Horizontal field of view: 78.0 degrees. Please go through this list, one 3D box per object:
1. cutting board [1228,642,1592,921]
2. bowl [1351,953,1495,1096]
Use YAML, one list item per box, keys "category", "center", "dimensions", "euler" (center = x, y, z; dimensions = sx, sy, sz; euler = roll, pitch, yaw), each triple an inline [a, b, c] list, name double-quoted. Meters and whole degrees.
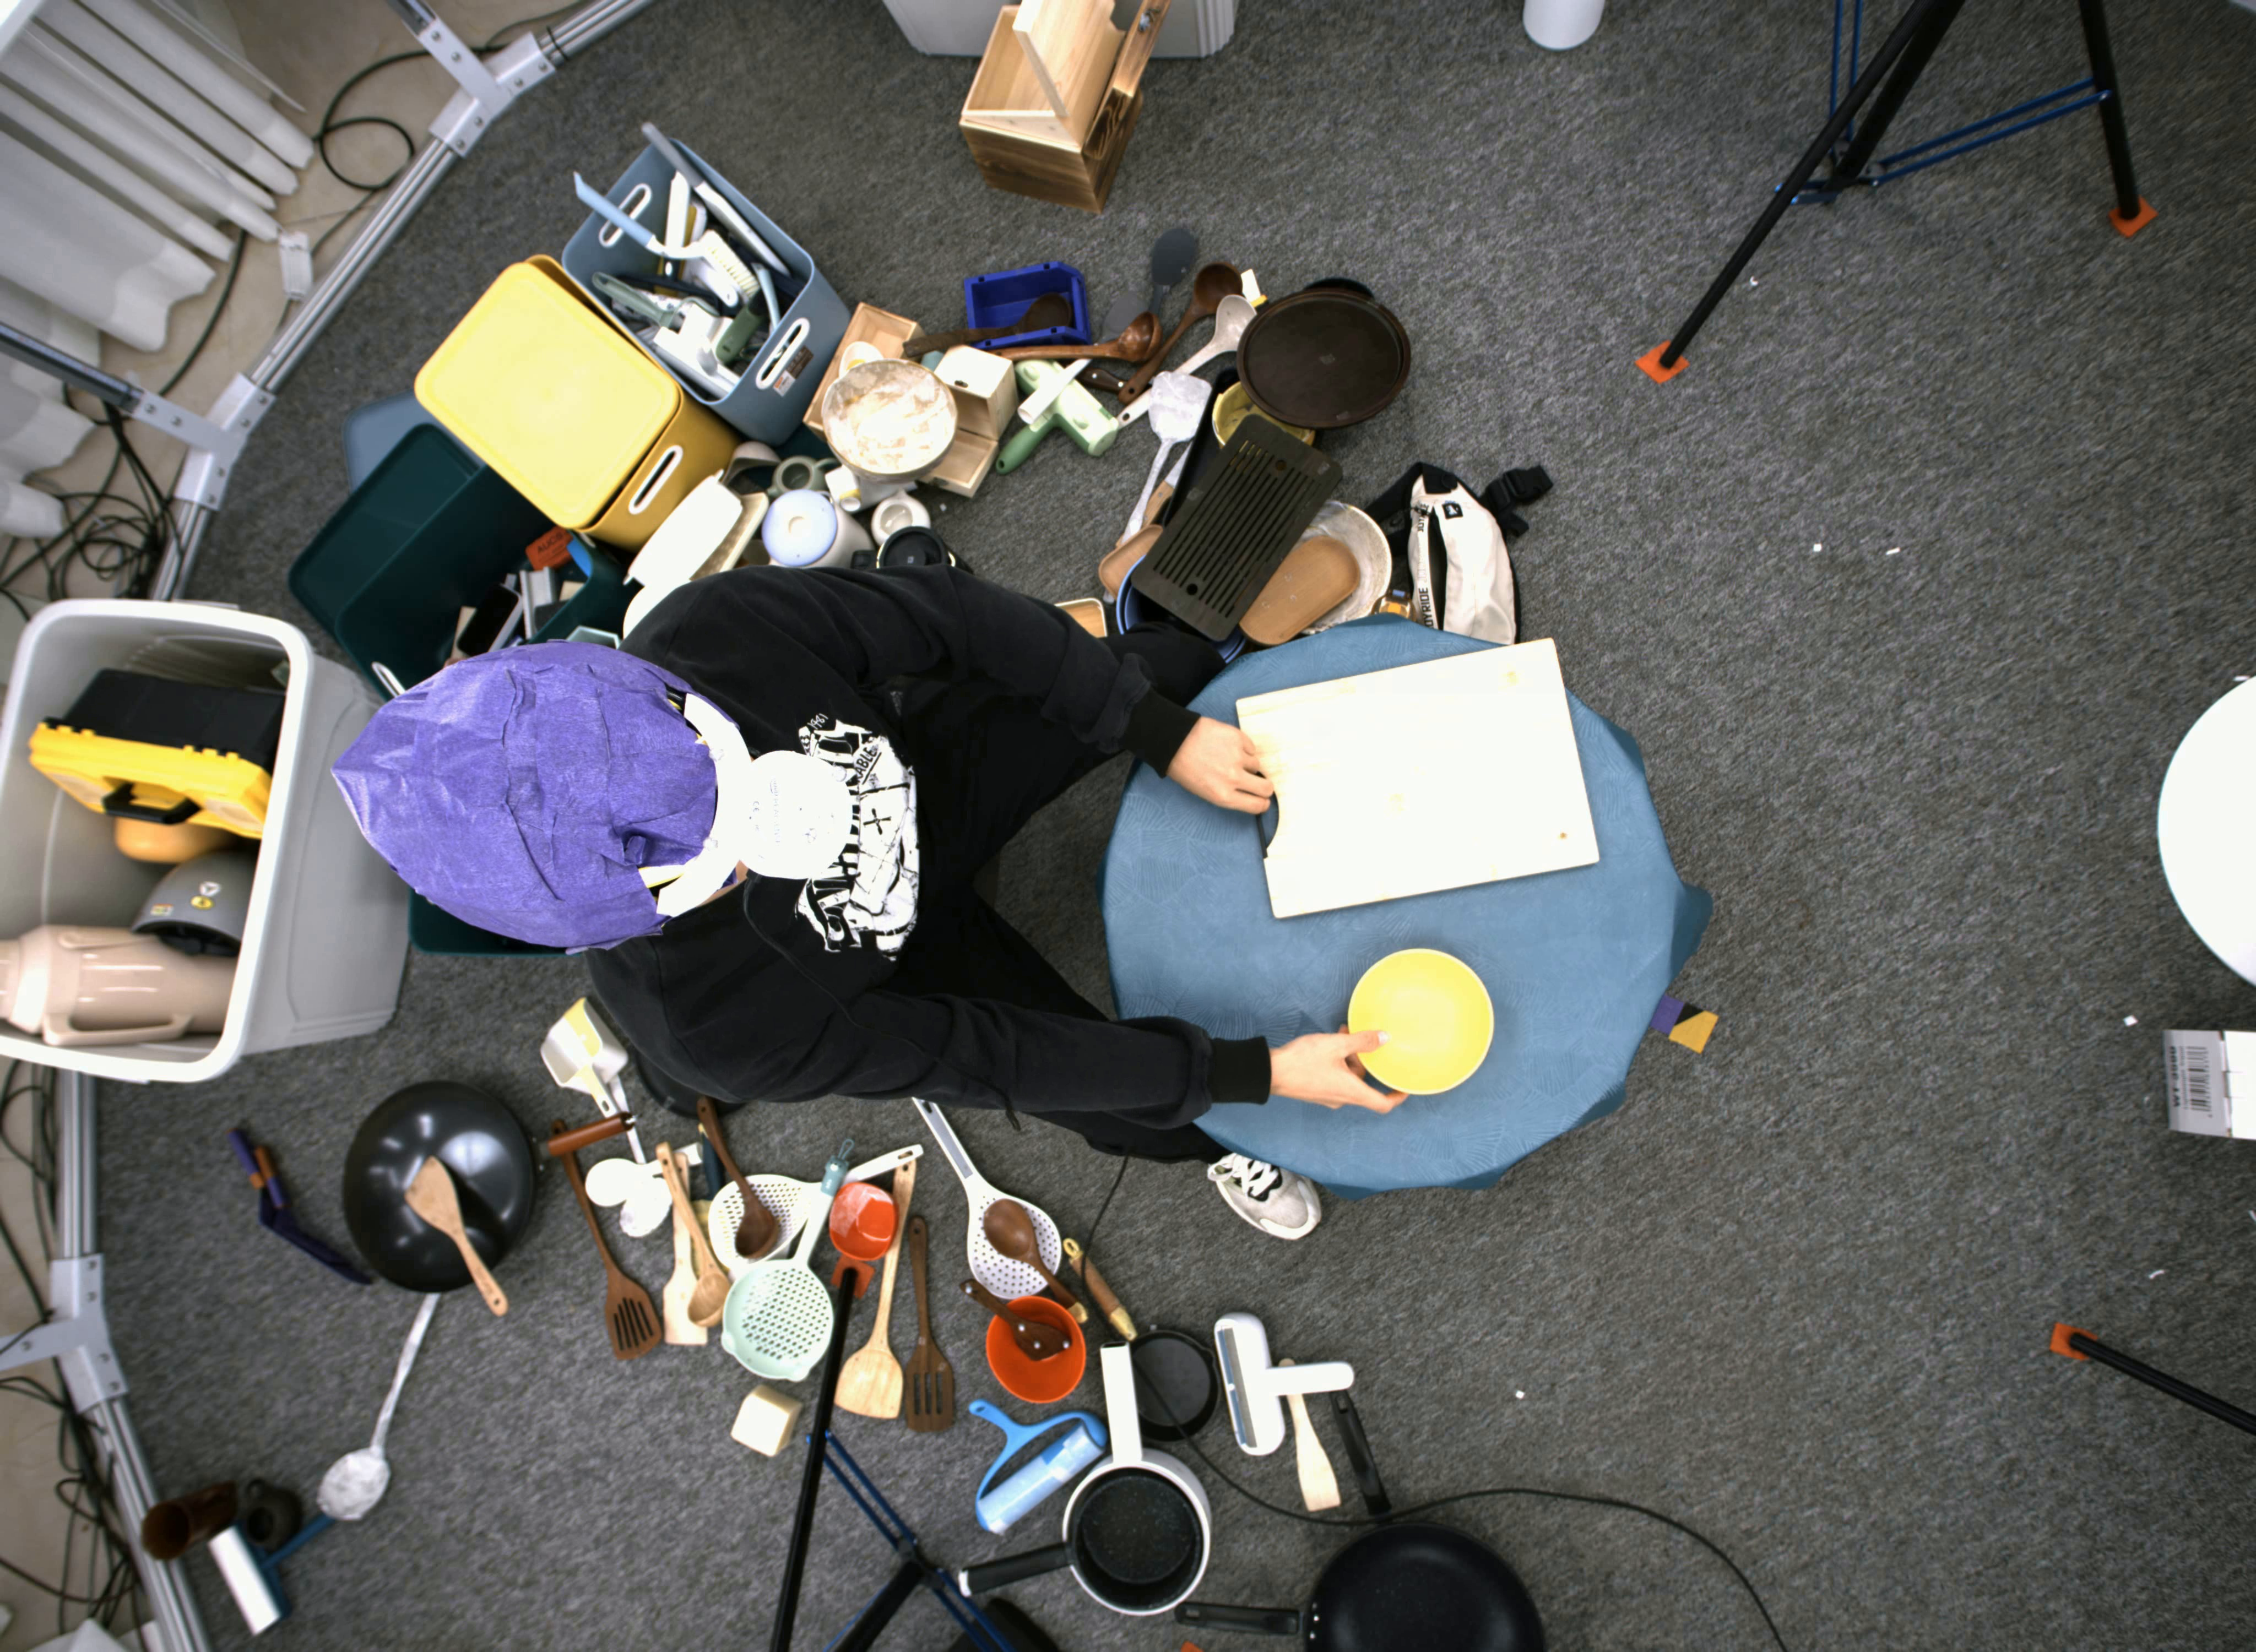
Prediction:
- category: "cutting board"
  center: [0.298, -0.047, 1.460]
  dimensions: [0.350, 0.023, 0.249]
  euler: [-12, 84, 9]
- category: "bowl"
  center: [0.303, 0.203, 1.422]
  dimensions: [0.146, 0.060, 0.144]
  euler: [-2, 83, 12]
